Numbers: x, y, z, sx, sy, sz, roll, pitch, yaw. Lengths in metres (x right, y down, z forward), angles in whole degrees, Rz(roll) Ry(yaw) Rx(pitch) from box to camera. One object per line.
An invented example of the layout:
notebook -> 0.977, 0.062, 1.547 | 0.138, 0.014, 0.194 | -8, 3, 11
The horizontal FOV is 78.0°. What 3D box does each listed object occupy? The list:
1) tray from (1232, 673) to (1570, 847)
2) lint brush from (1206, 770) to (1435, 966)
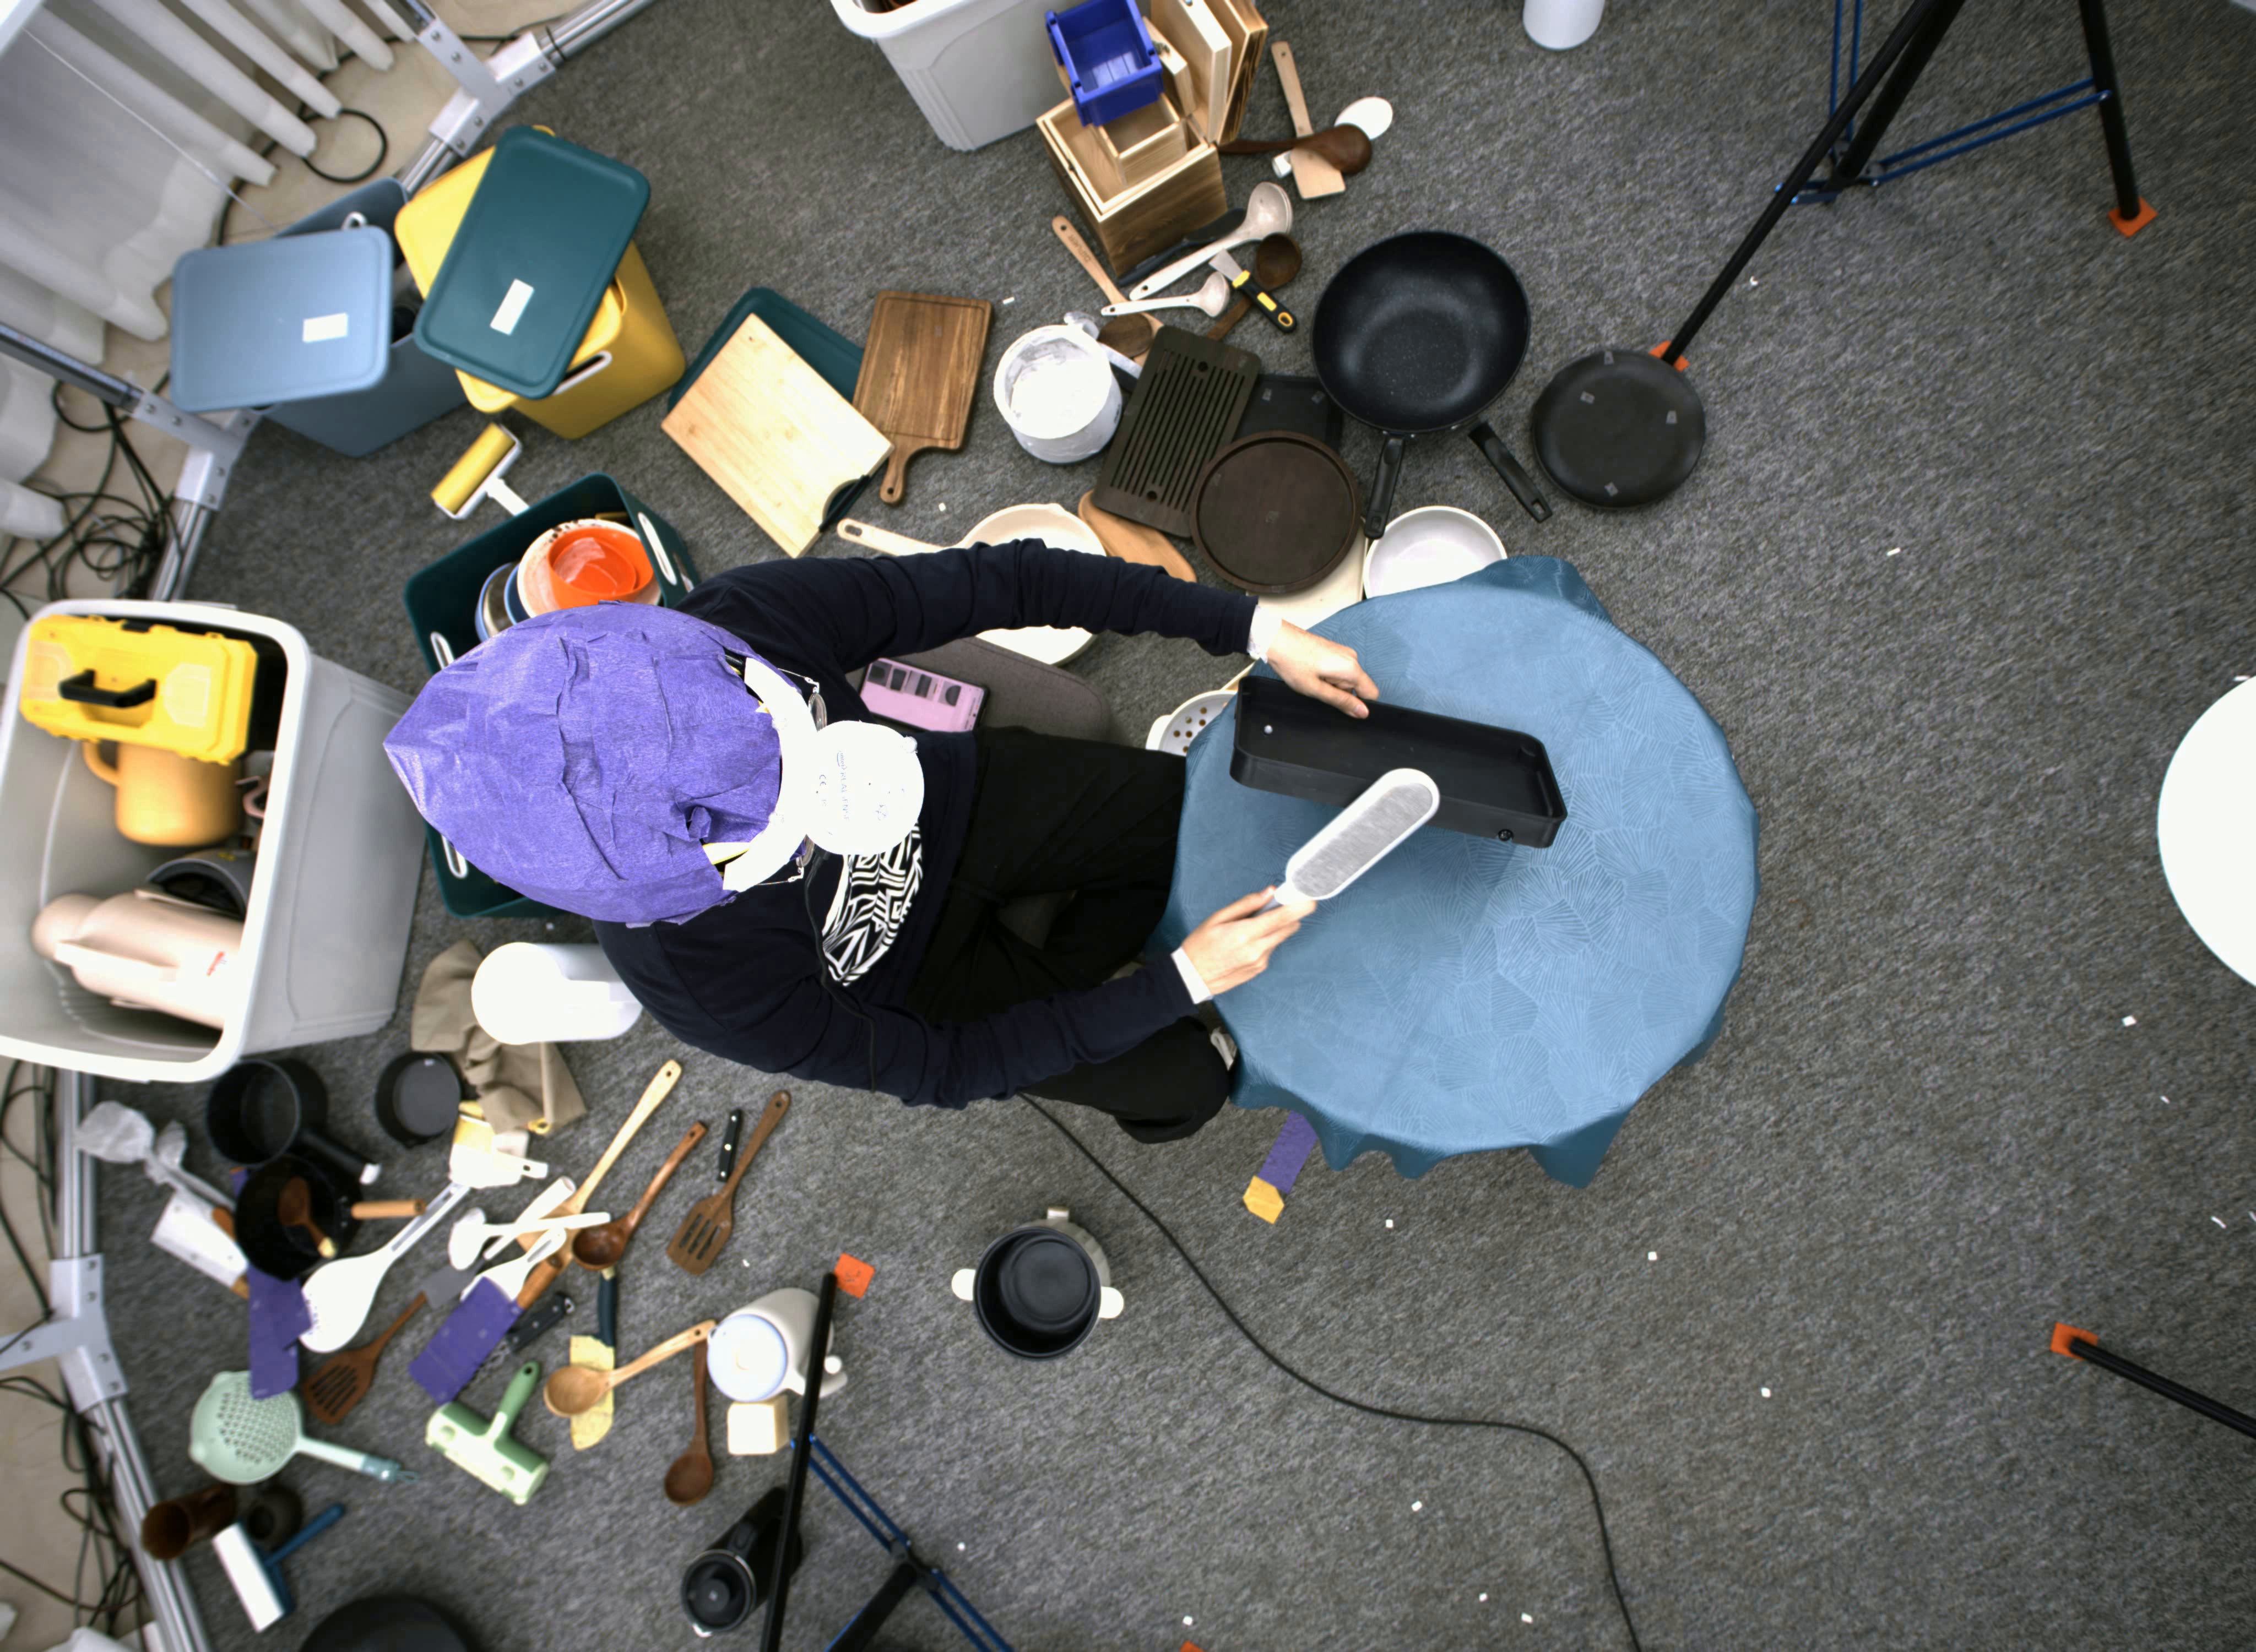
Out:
tray -> 0.260, -0.069, 1.339 | 0.318, 0.180, 0.038 | 12, 121, 1
lint brush -> 0.174, 0.046, 1.318 | 0.060, 0.020, 0.316 | 28, 129, -22
